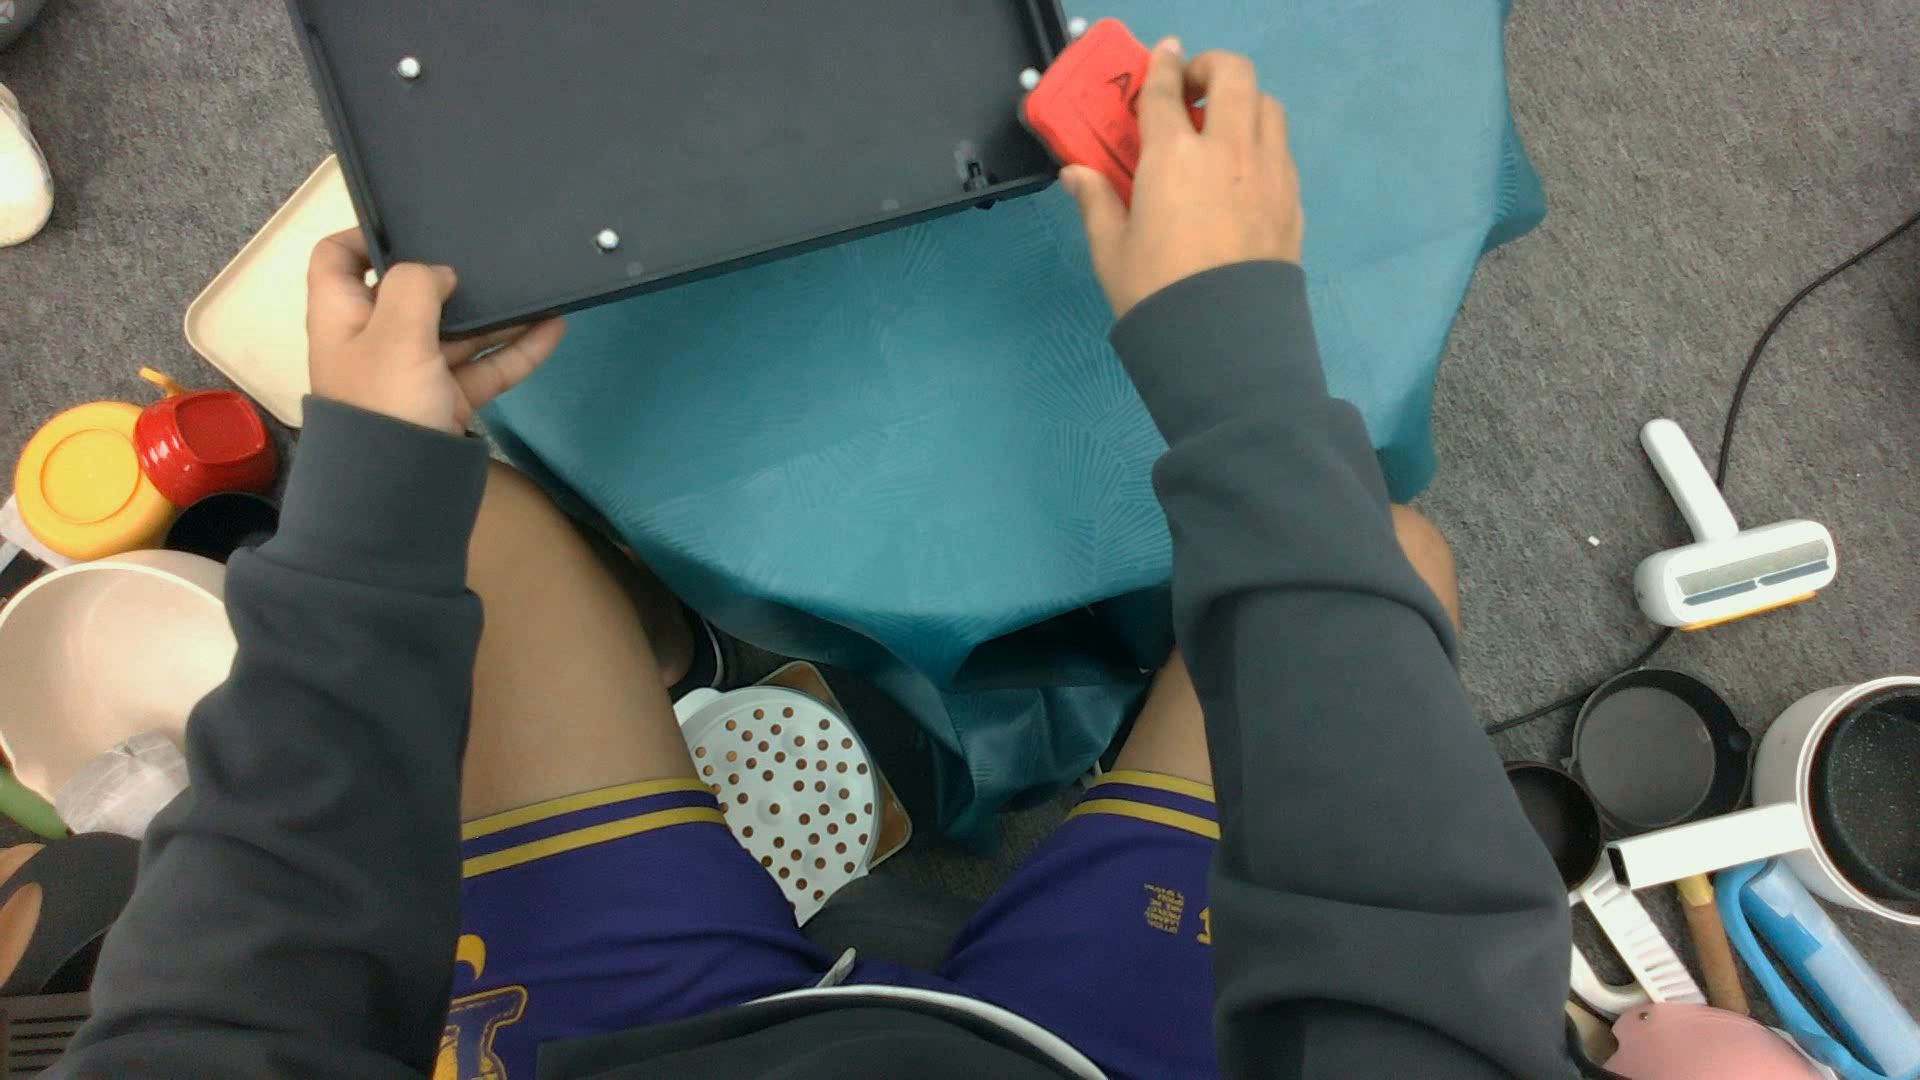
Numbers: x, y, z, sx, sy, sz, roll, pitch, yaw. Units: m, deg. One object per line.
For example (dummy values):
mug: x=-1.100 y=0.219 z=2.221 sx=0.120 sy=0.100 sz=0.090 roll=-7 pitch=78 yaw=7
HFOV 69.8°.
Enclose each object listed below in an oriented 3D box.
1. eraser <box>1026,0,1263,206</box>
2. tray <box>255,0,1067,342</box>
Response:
eraser: x=0.086 y=-0.202 z=0.634 sx=0.108 sy=0.023 sz=0.059 roll=22 pitch=87 yaw=-24
tray: x=-0.119 y=-0.213 z=0.596 sx=0.319 sy=0.037 sz=0.184 roll=-21 pitch=95 yaw=-19
